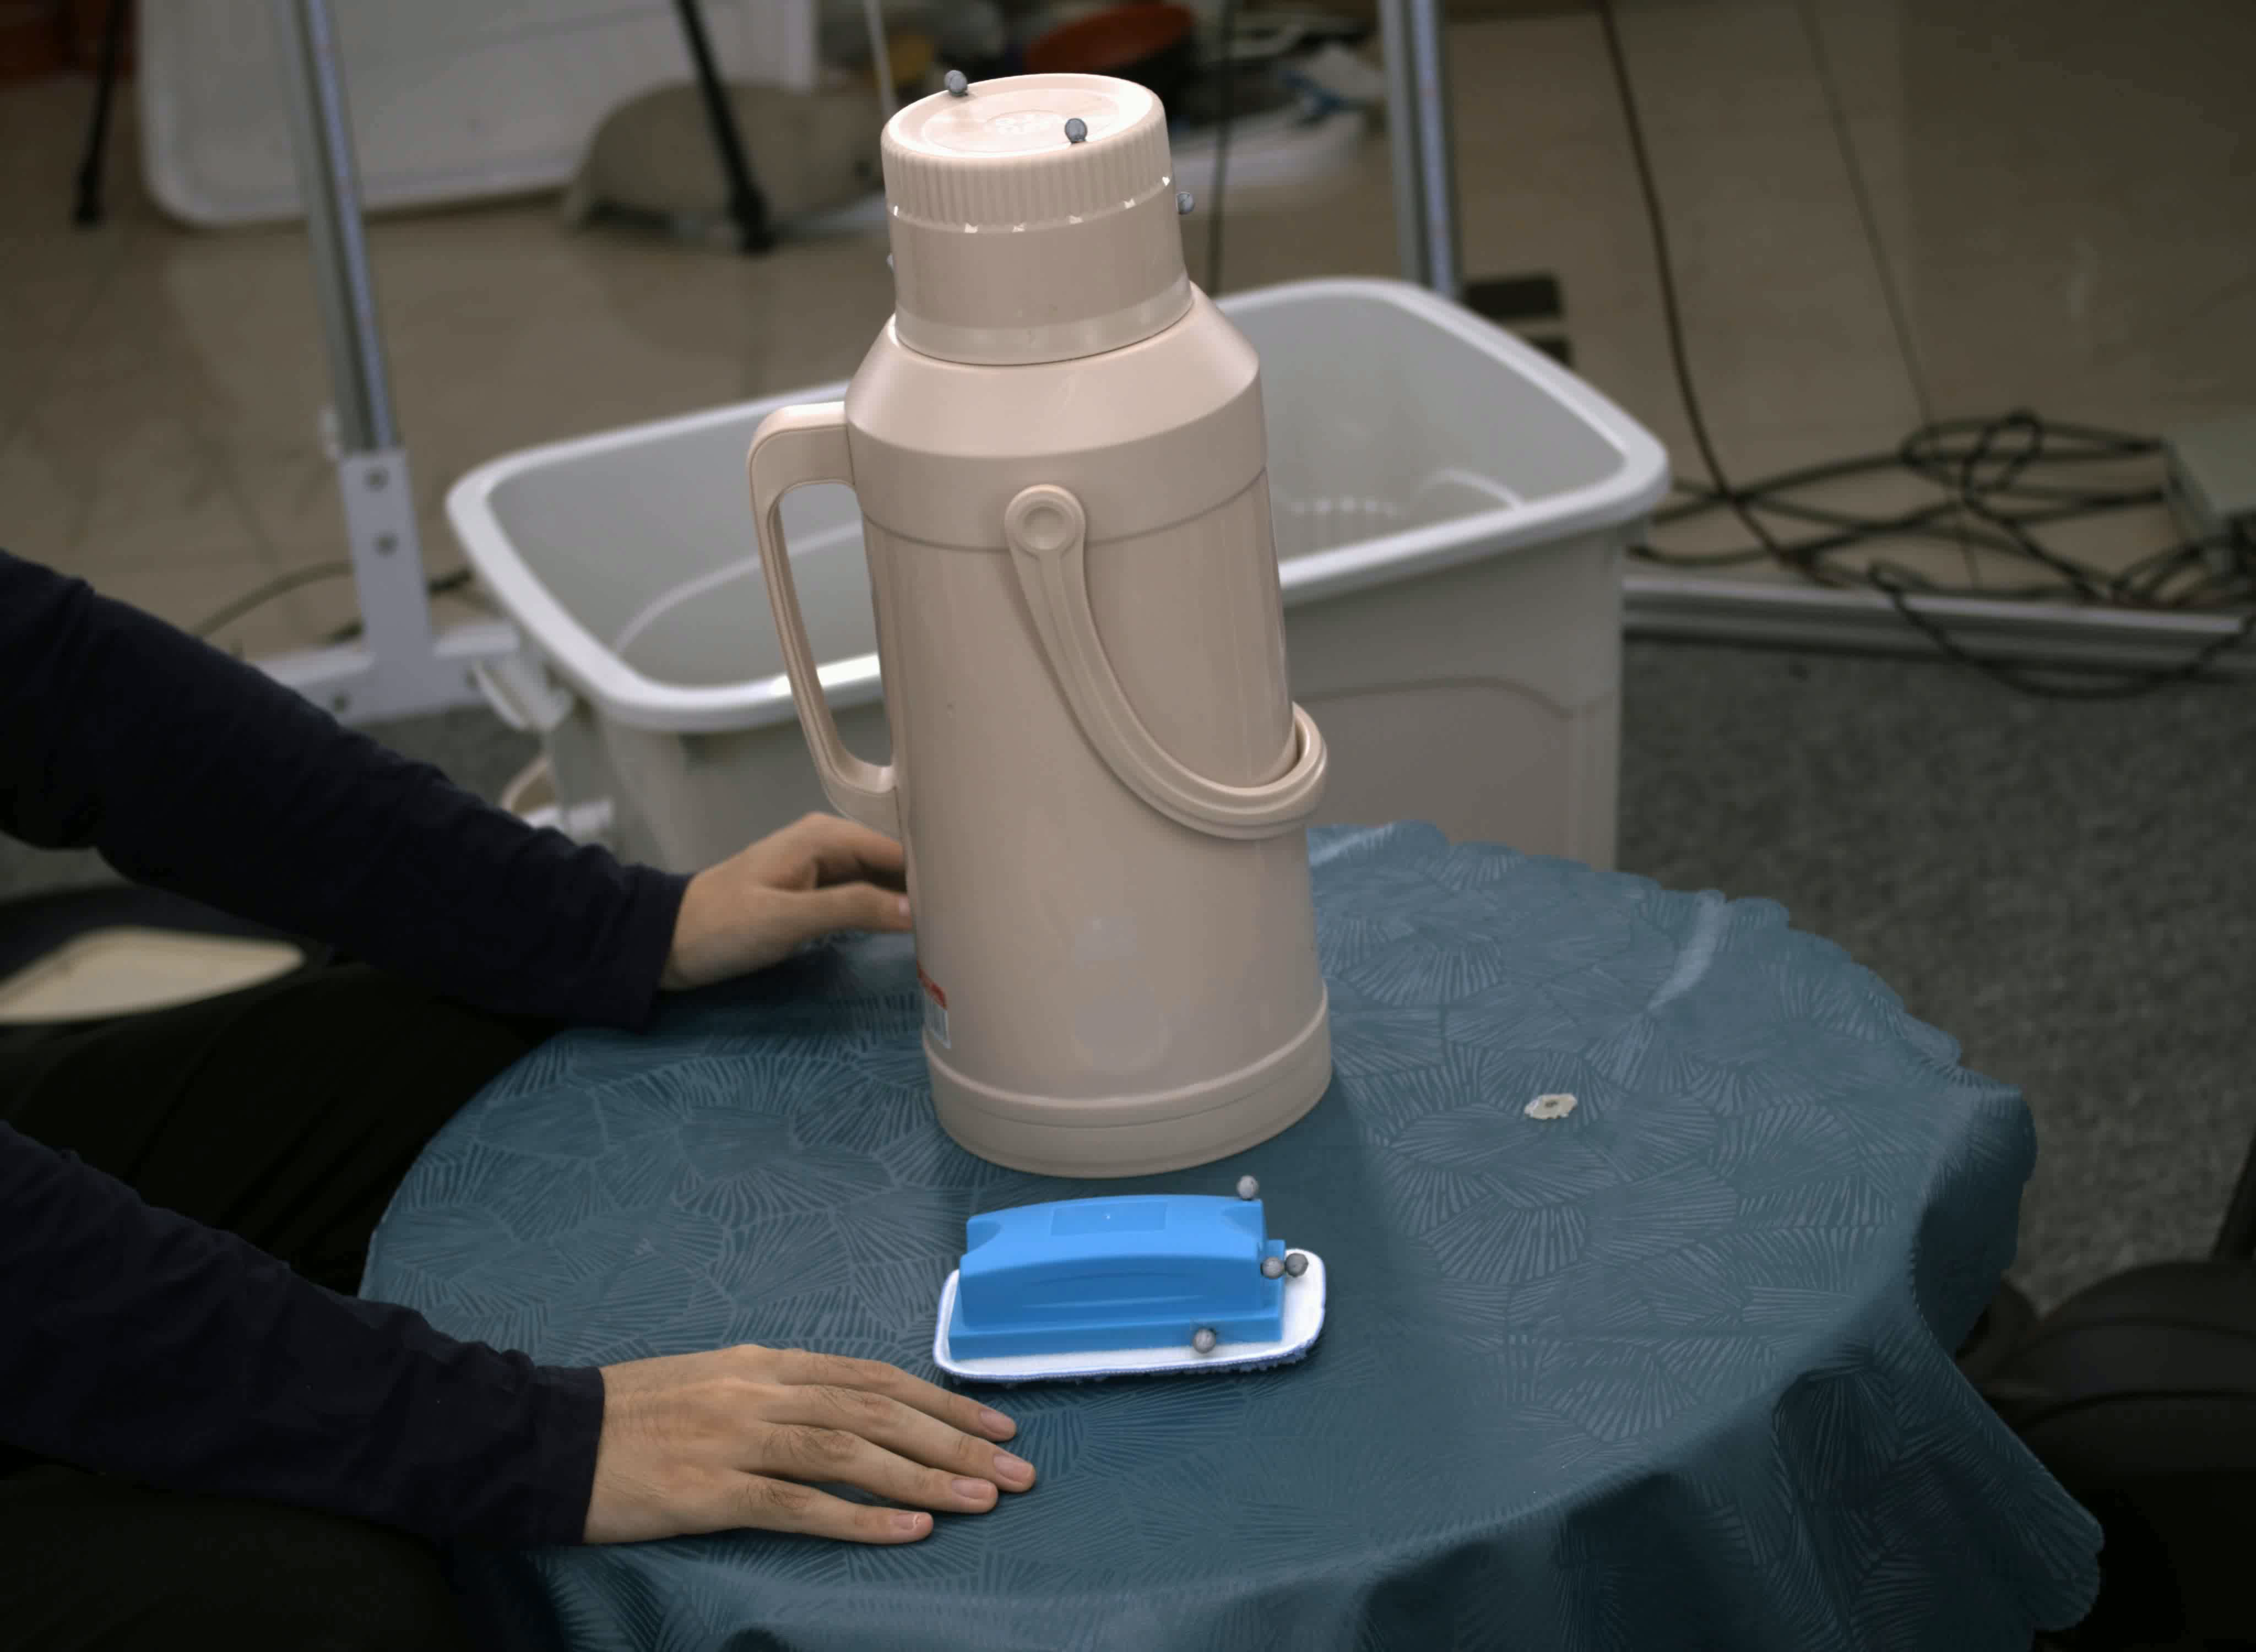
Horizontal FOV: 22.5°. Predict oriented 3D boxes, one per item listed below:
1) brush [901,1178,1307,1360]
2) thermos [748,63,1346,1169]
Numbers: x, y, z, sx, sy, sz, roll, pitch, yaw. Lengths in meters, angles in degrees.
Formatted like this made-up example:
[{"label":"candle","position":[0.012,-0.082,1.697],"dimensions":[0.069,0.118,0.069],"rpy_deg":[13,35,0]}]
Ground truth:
[{"label":"brush","position":[-0.009,0.157,2.037],"dimensions":[0.144,0.057,0.083],"rpy_deg":[-1,22,6]},{"label":"thermos","position":[-0.030,-0.079,2.146],"dimensions":[0.207,0.413,0.172],"rpy_deg":[-5,27,4]}]
